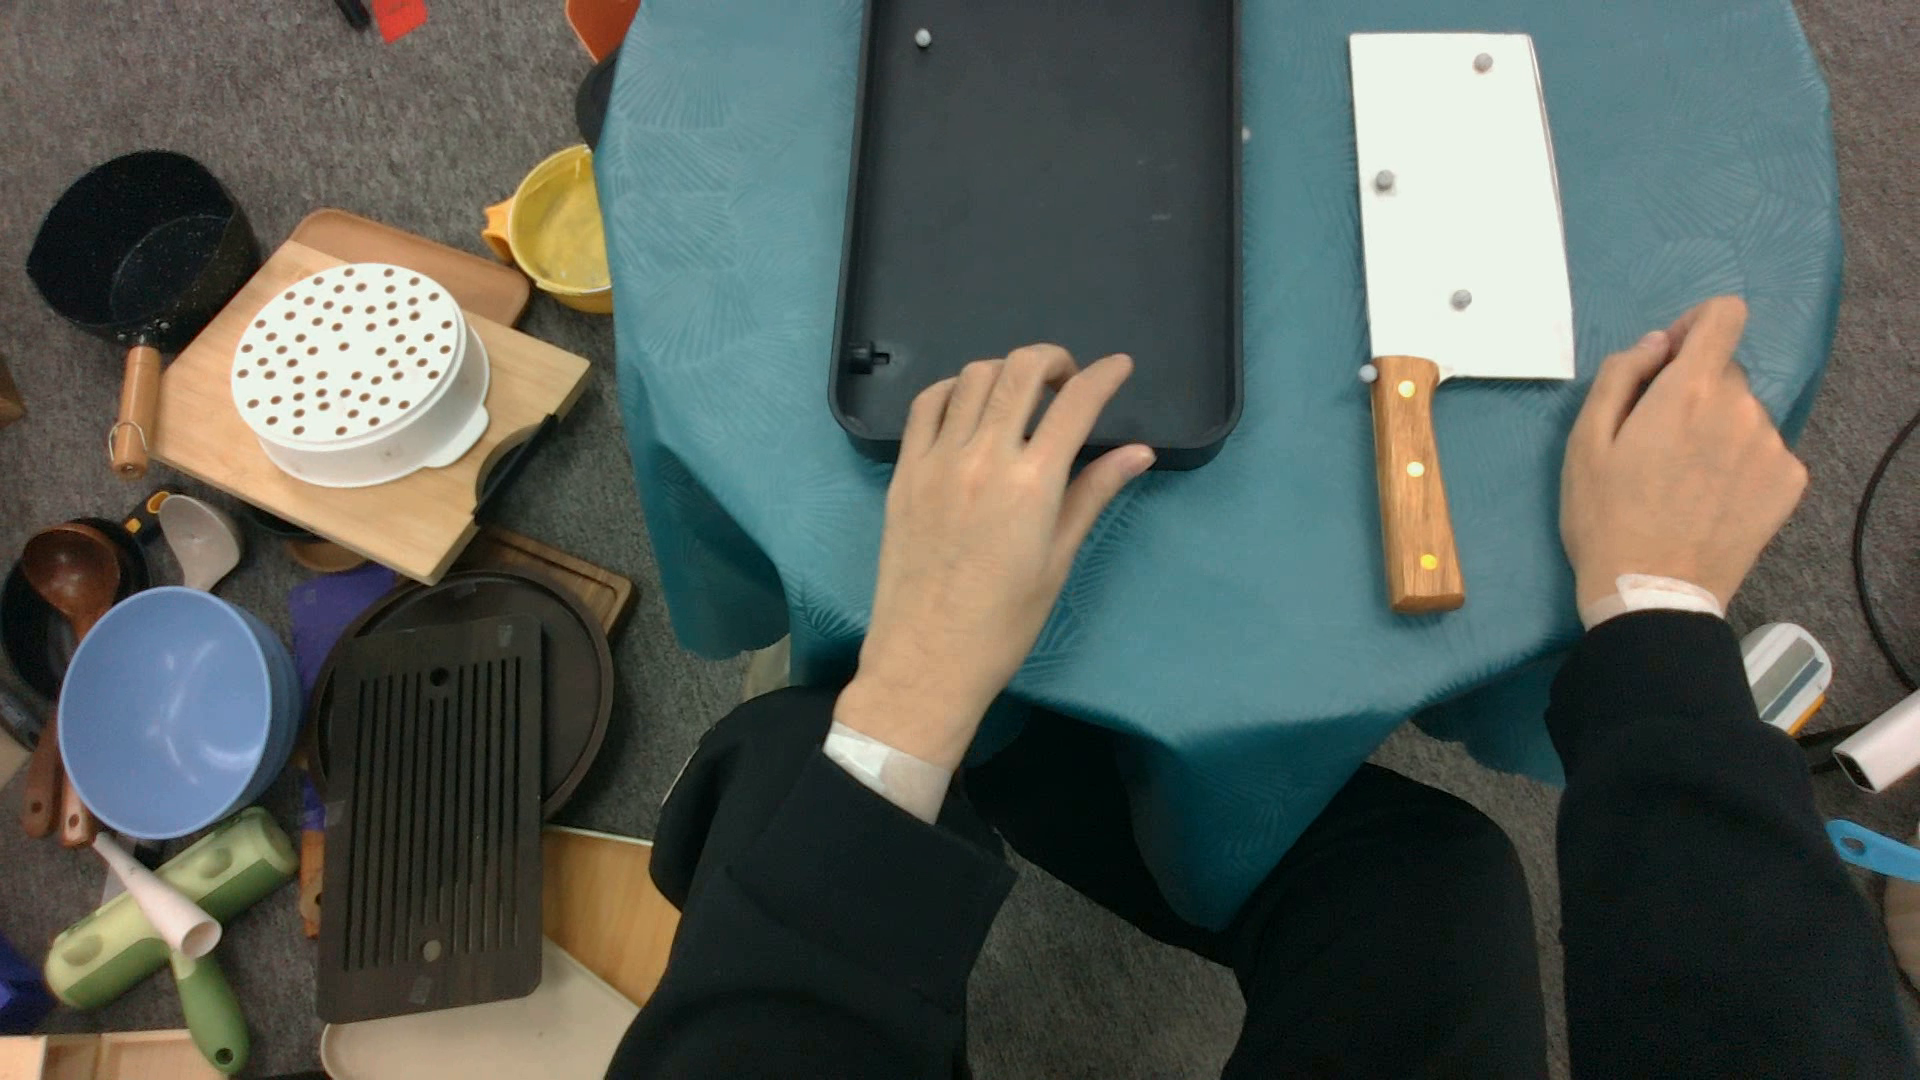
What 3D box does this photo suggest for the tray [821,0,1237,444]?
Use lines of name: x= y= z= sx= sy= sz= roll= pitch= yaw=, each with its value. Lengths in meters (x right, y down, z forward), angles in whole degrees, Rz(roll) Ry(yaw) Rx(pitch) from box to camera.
tray: x=0.031 y=-0.198 z=0.665 sx=0.184 sy=0.037 sz=0.319 roll=0 pitch=72 yaw=2

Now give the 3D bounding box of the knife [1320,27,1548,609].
knife: x=0.222 y=-0.114 z=0.639 sx=0.093 sy=0.021 sz=0.306 roll=1 pitch=69 yaw=1
